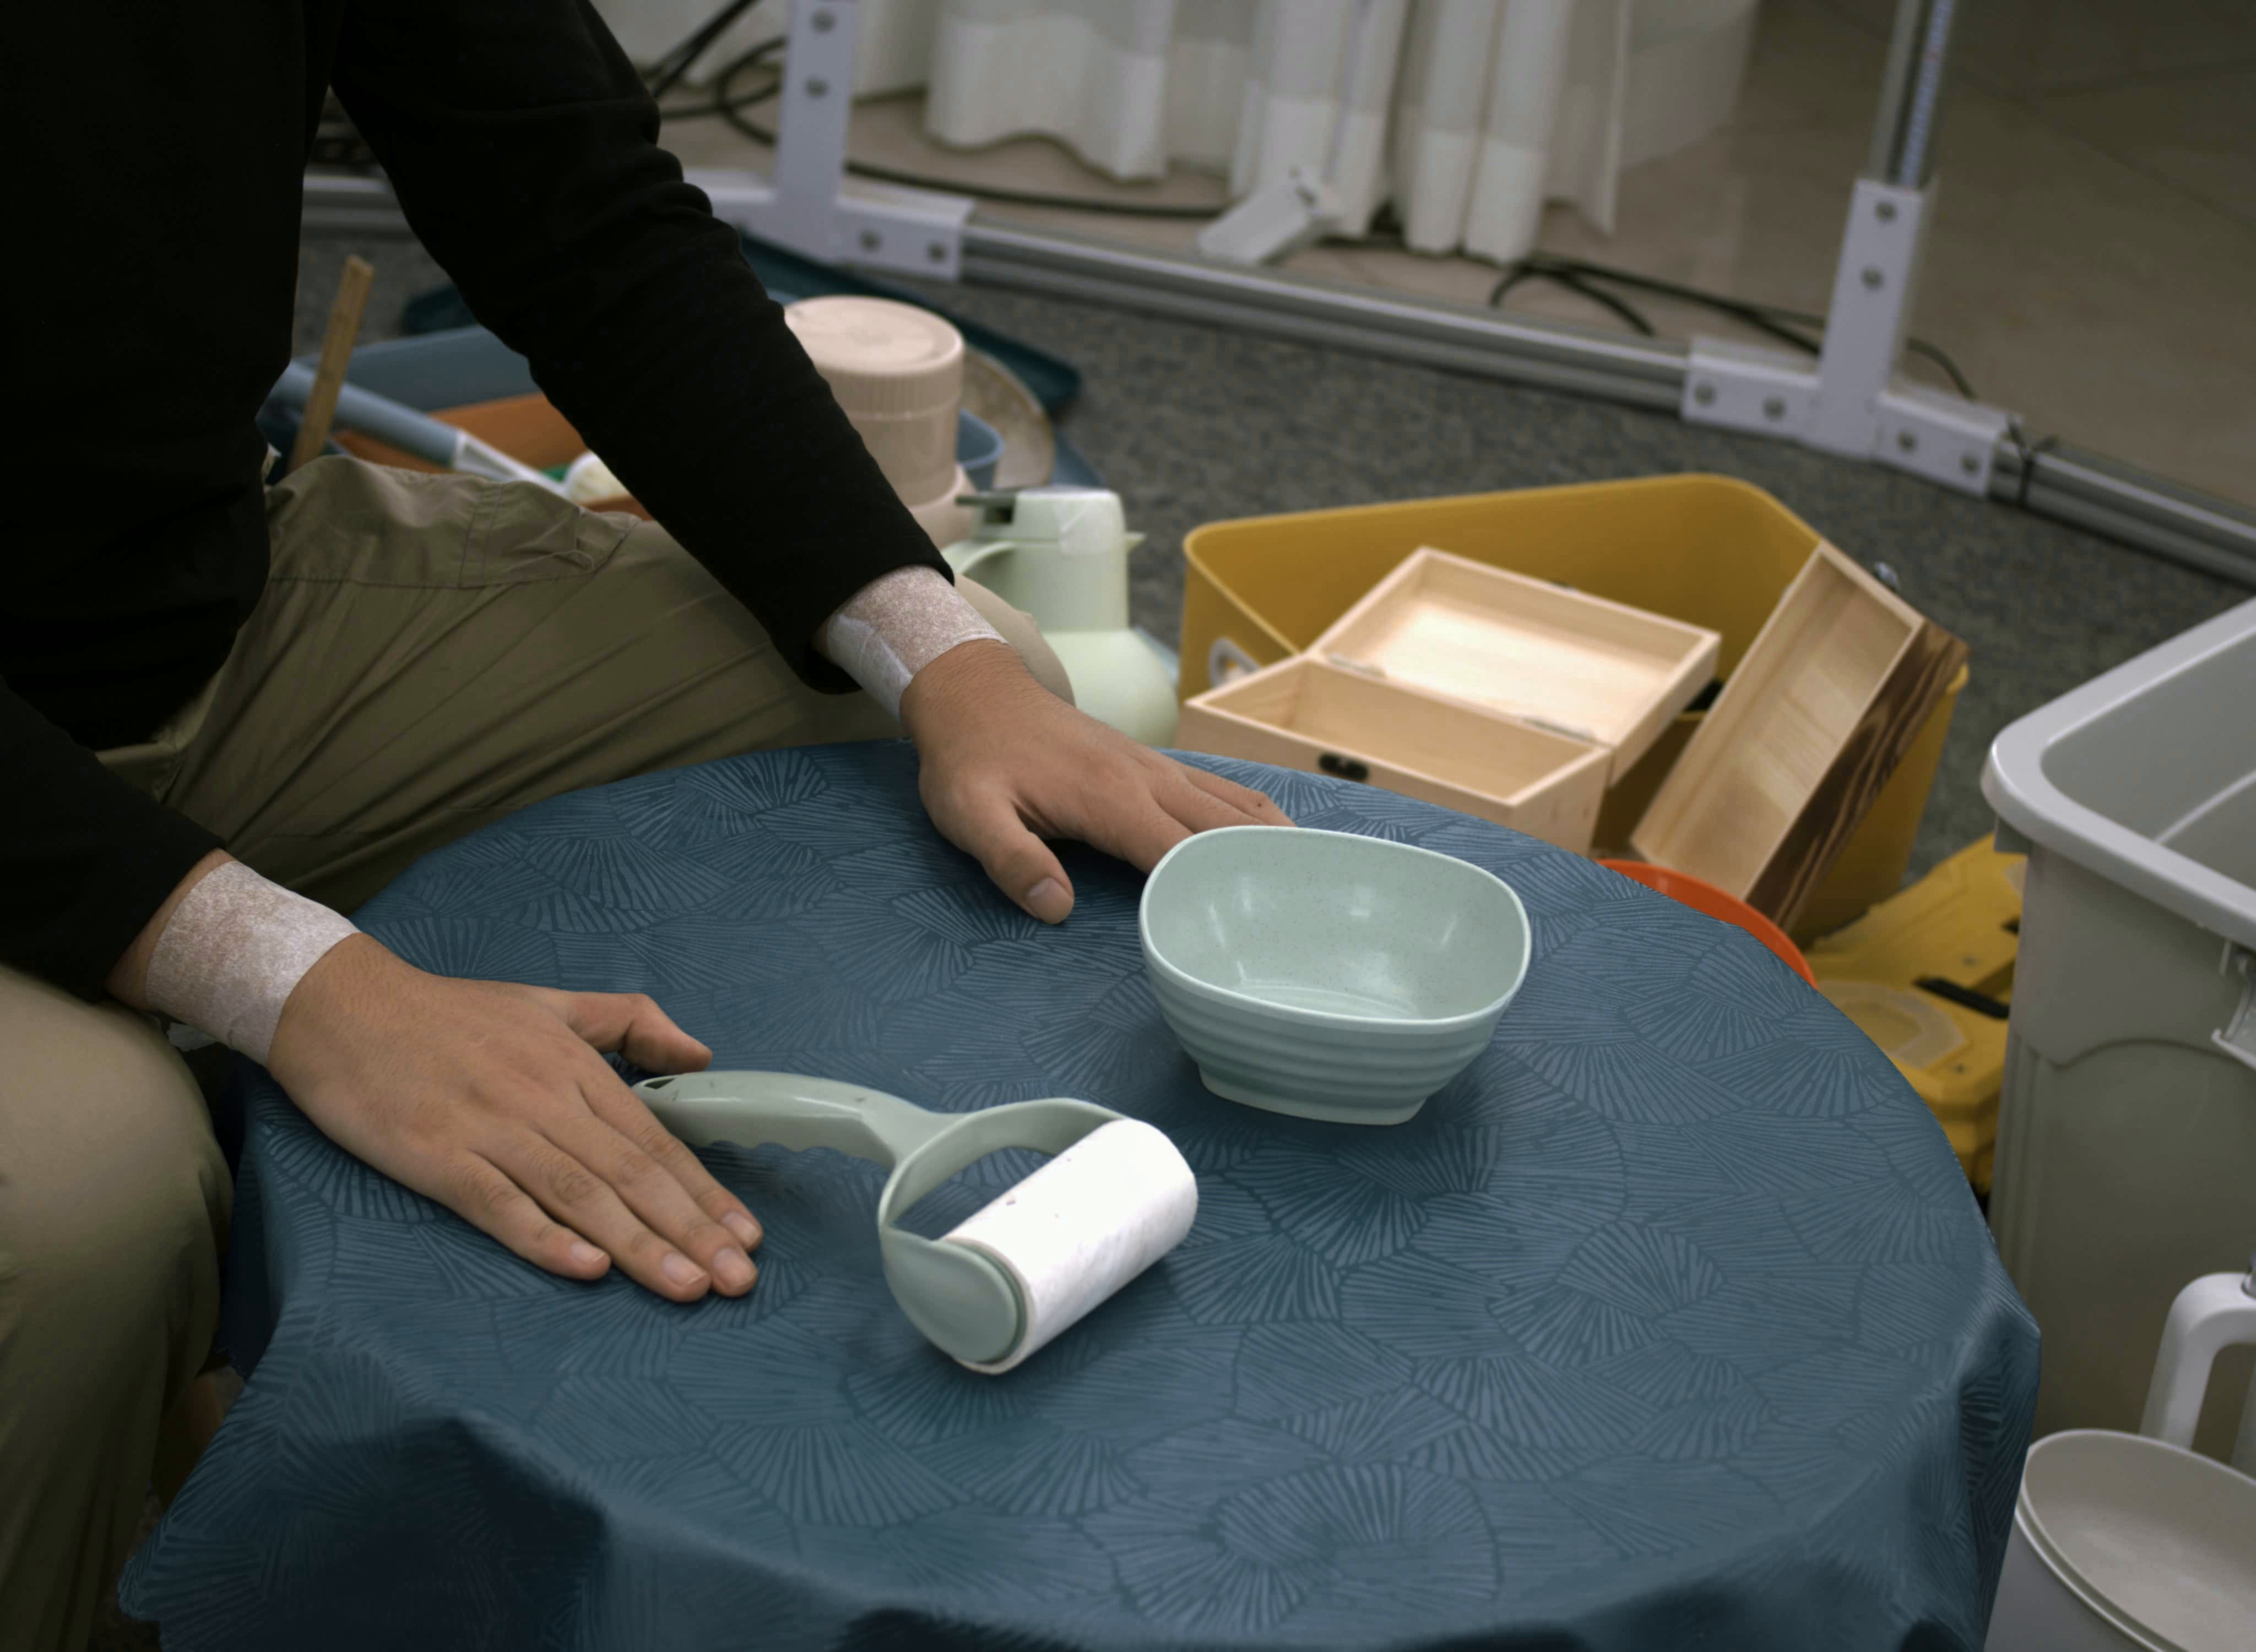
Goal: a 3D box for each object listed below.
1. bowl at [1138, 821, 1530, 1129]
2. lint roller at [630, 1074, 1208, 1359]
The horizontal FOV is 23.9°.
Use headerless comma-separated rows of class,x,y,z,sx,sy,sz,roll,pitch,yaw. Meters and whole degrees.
bowl,0.069,0.059,1.883,0.151,0.058,0.152,6,28,-4
lint roller,-0.080,0.110,1.761,0.198,0.048,0.116,20,31,27
